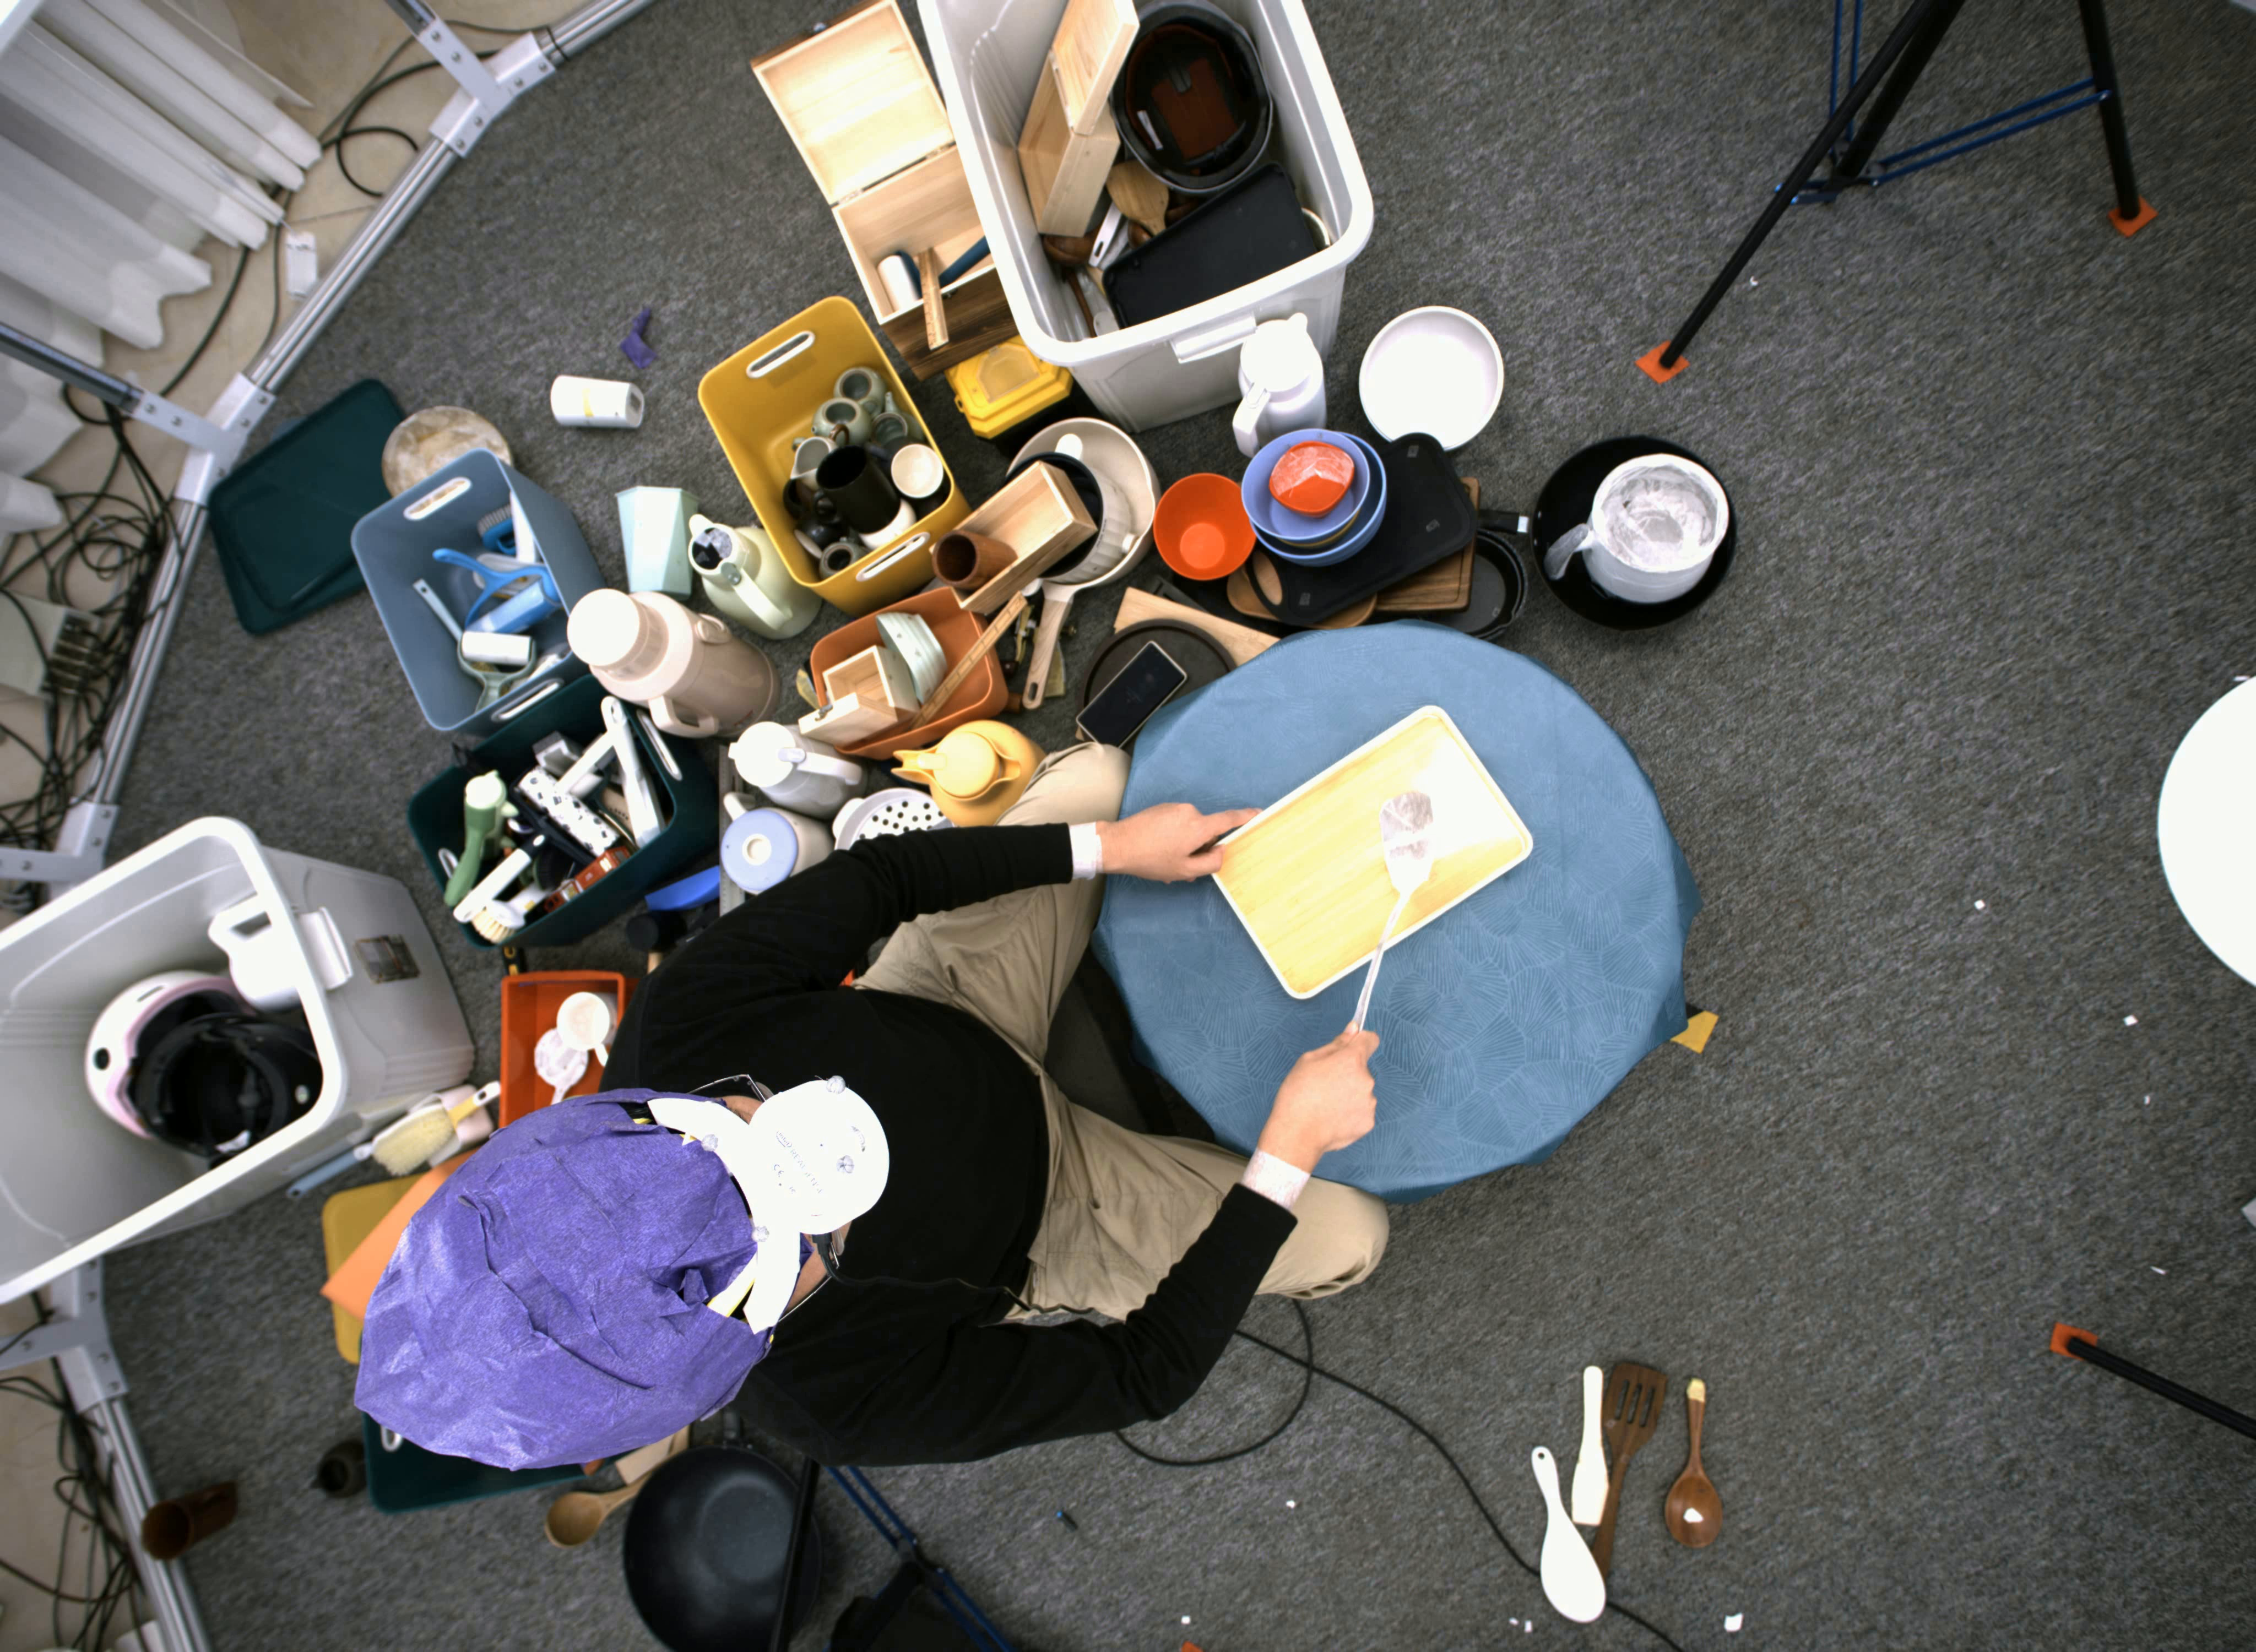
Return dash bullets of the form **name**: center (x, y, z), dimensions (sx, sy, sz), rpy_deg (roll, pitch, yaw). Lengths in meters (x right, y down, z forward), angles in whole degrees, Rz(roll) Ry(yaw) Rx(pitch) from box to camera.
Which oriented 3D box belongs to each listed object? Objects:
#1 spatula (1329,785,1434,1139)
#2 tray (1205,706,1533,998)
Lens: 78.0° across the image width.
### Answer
- **spatula**: center (0.245, 0.131, 1.383), dimensions (0.045, 0.100, 0.360), rpy_deg (24, 76, -17)
- **tray**: center (0.251, 0.026, 1.453), dimensions (0.302, 0.027, 0.190), rpy_deg (-33, 82, 7)
